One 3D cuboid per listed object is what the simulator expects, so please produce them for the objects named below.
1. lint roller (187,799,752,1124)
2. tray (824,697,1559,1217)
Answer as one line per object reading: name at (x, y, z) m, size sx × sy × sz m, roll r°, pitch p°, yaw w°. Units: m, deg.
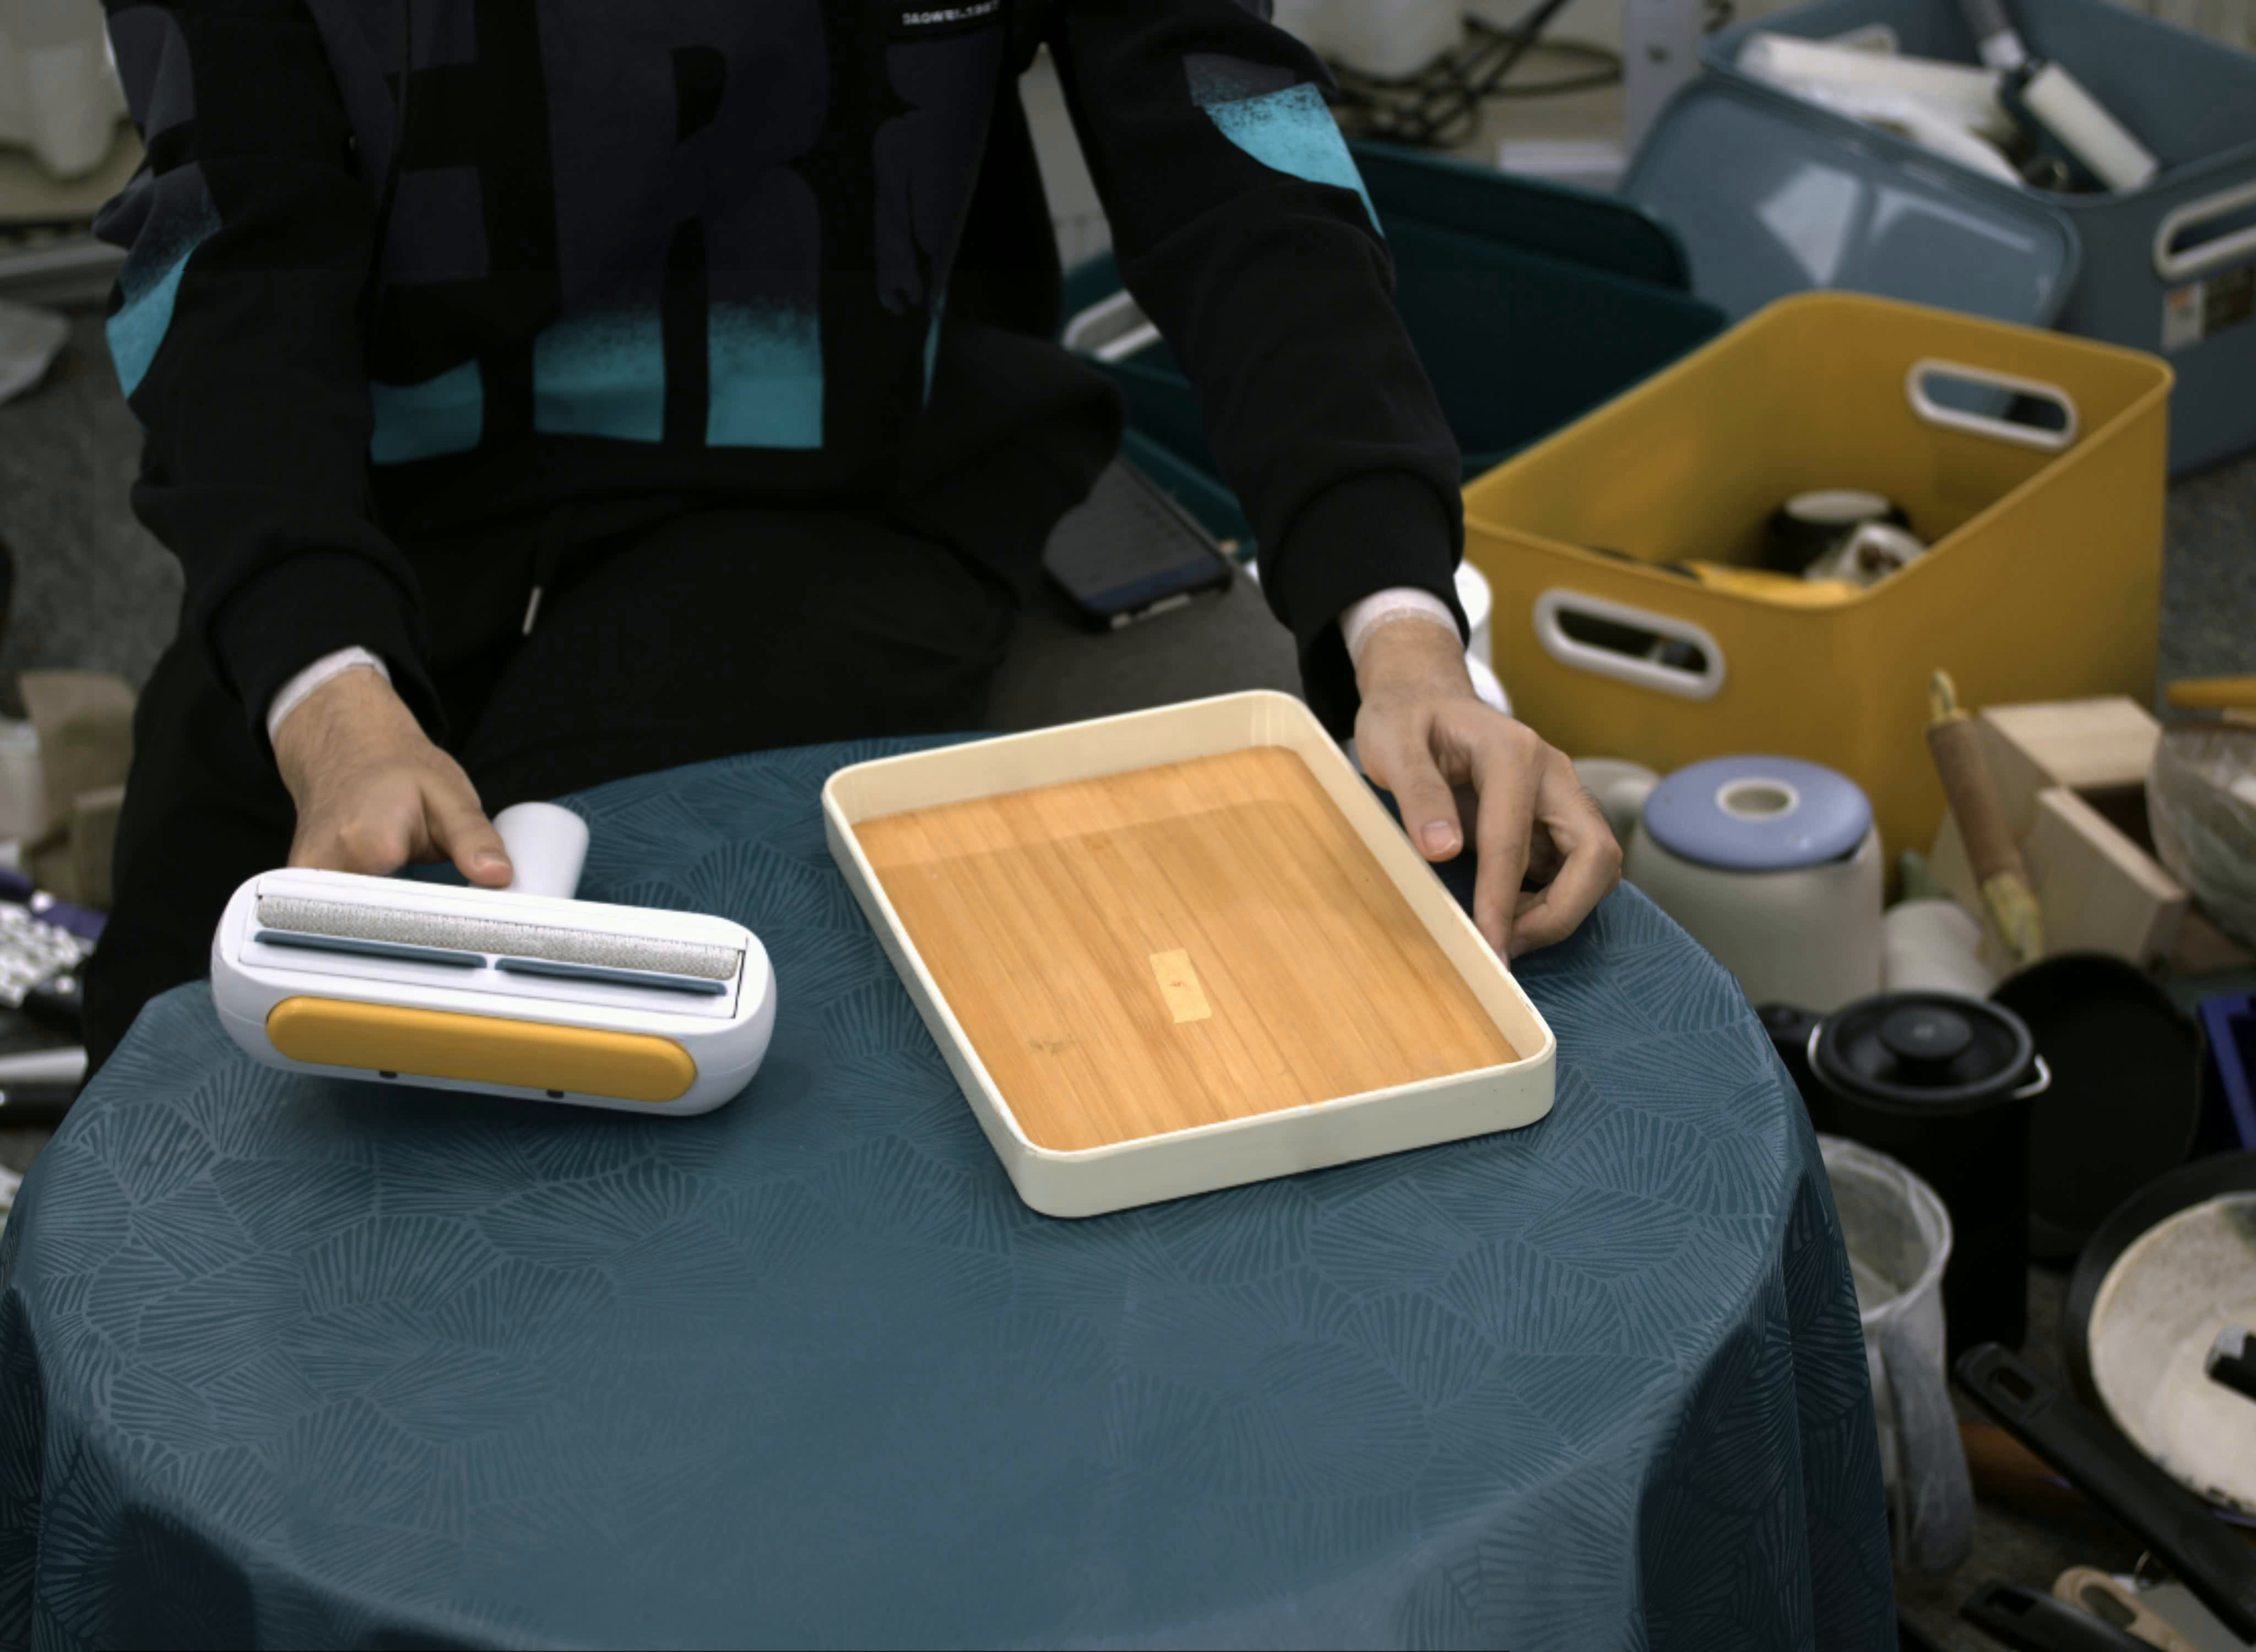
lint roller at (-0.218, 0.032, 1.970) m, size 0.192 × 0.073 × 0.196 m, roll 5°, pitch 32°, yaw 4°
tray at (0.017, 0.041, 1.986) m, size 0.192 × 0.027 × 0.303 m, roll -9°, pitch 28°, yaw -14°
